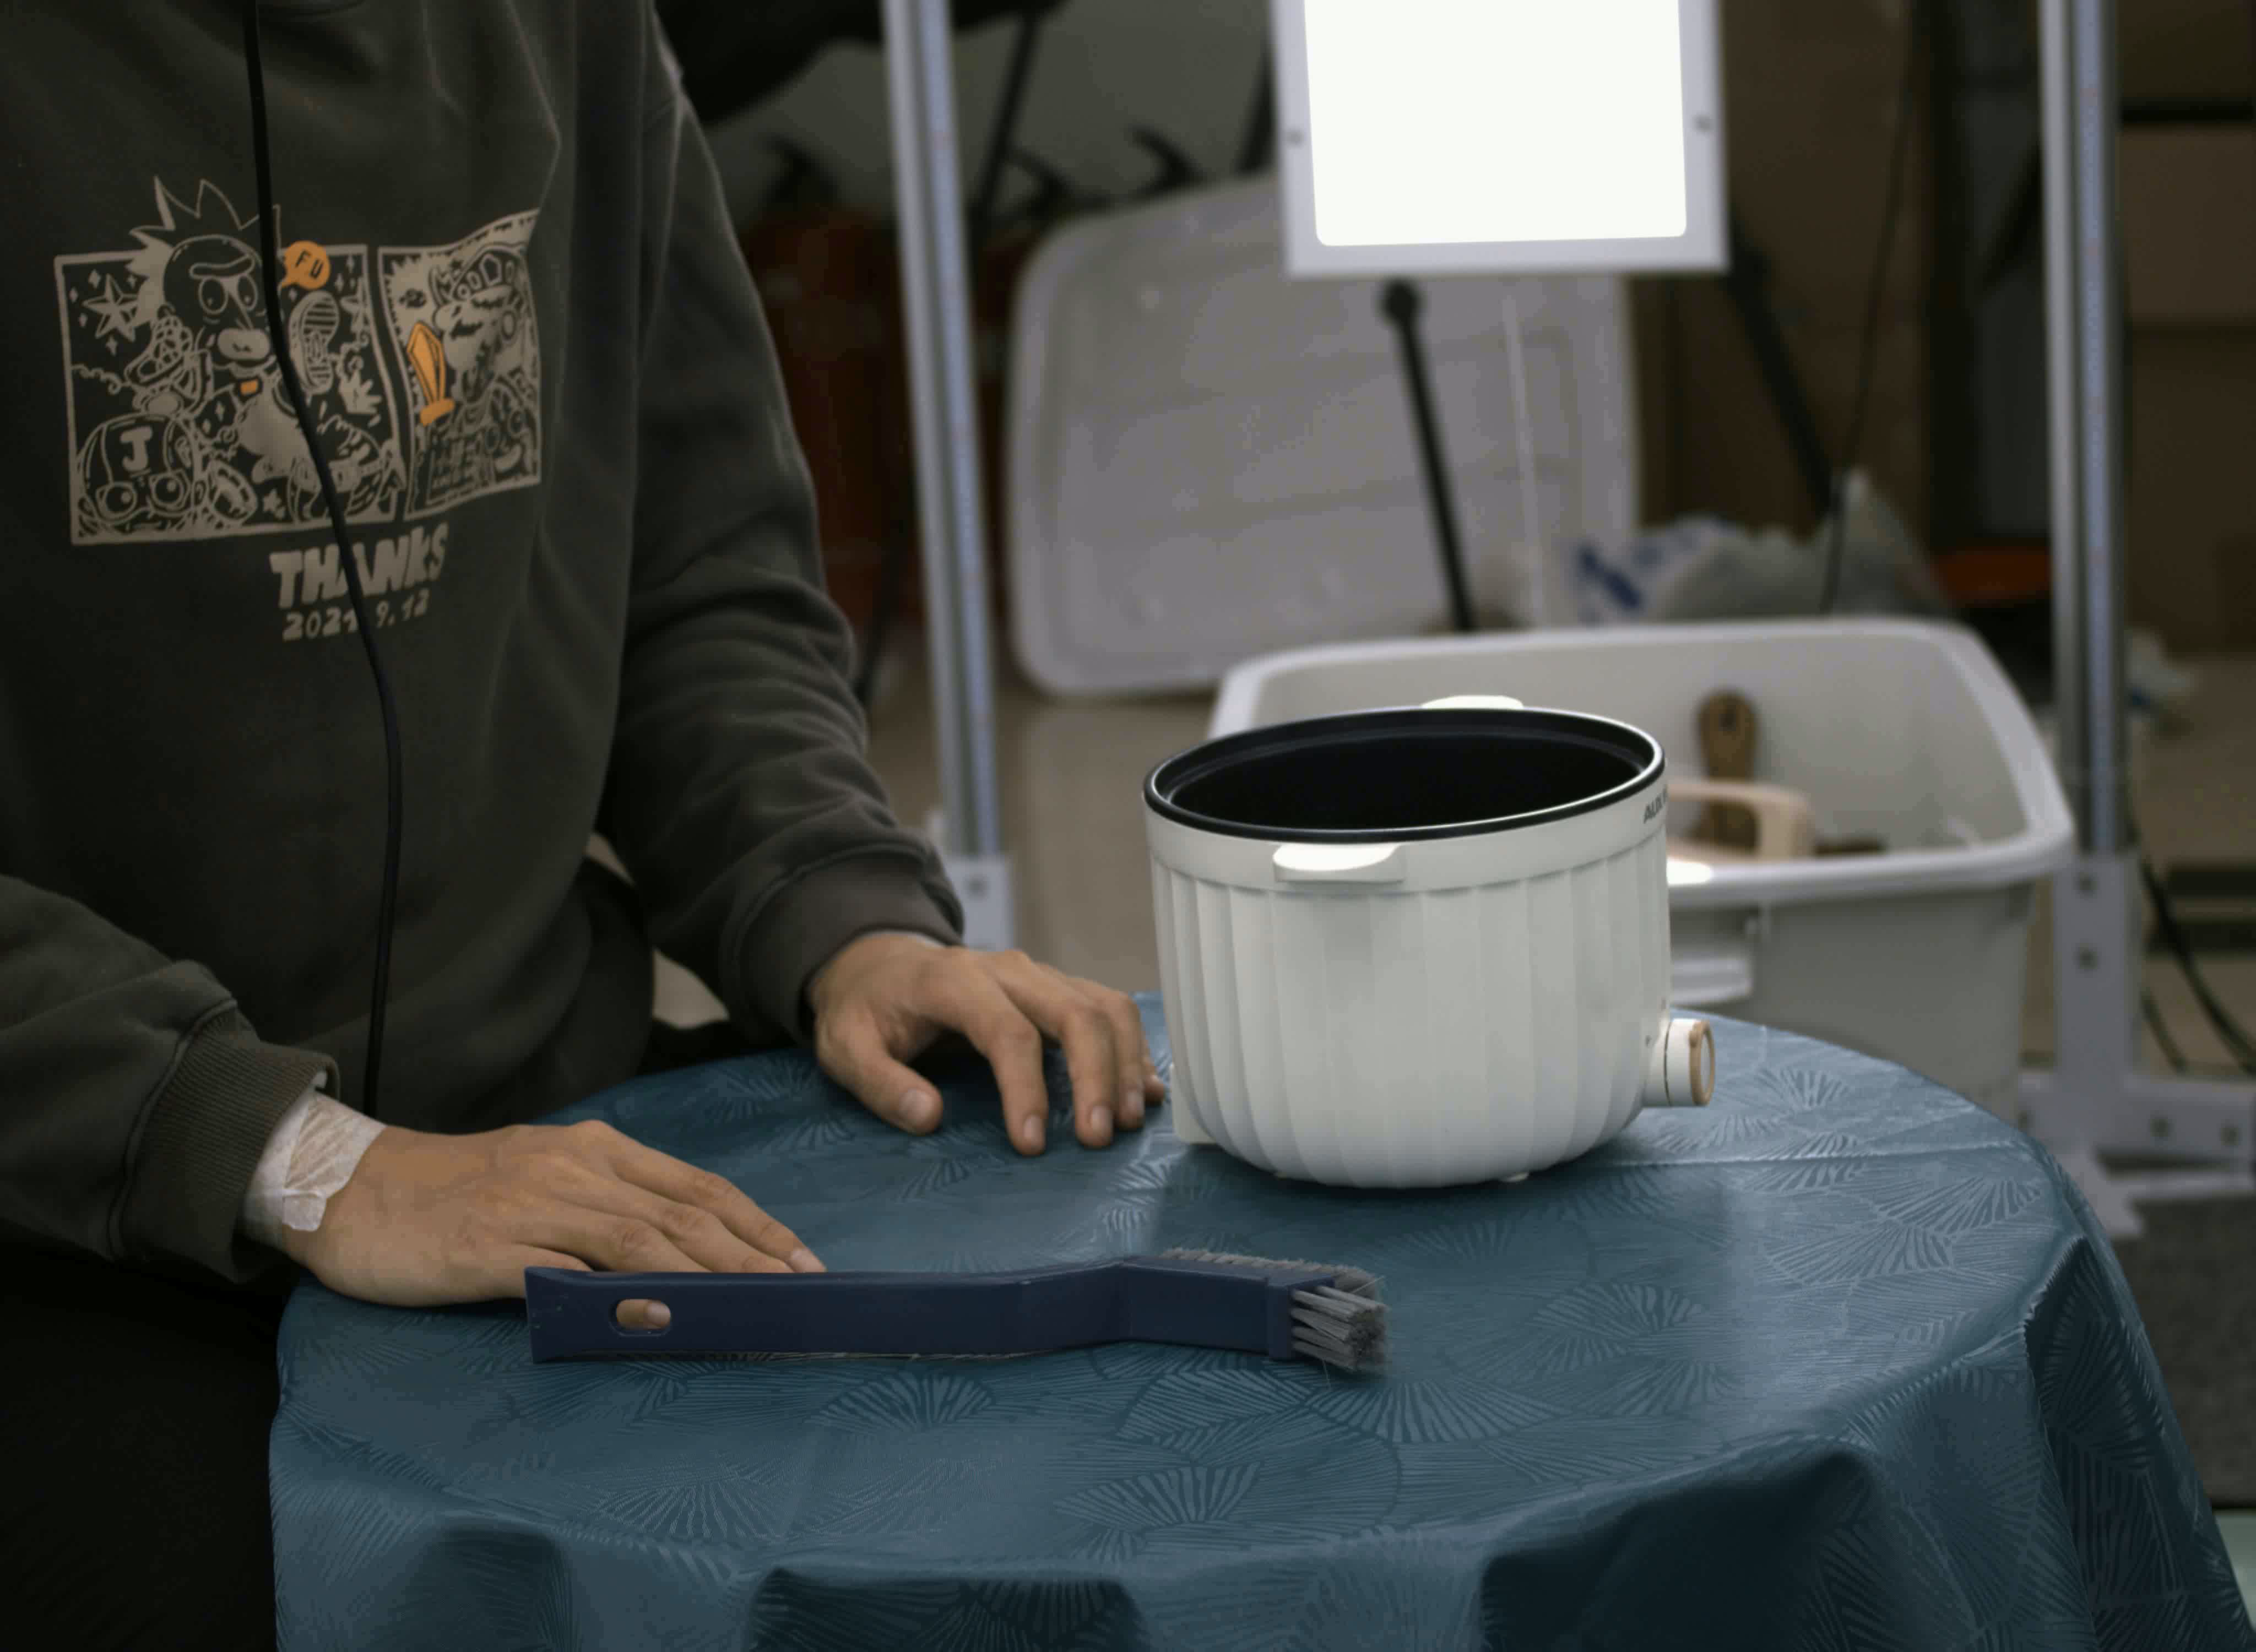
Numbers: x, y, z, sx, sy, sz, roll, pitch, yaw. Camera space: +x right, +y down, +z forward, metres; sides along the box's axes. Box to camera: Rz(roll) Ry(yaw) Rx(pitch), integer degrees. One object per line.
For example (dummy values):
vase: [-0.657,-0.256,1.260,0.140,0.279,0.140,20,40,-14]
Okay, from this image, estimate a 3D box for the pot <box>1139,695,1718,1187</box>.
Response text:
pot: [0.106,0.042,1.908,0.193,0.143,0.236,-4,15,18]

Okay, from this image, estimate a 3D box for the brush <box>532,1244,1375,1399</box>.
brush: [-0.058,0.154,1.740,0.274,0.033,0.095,-2,15,7]
